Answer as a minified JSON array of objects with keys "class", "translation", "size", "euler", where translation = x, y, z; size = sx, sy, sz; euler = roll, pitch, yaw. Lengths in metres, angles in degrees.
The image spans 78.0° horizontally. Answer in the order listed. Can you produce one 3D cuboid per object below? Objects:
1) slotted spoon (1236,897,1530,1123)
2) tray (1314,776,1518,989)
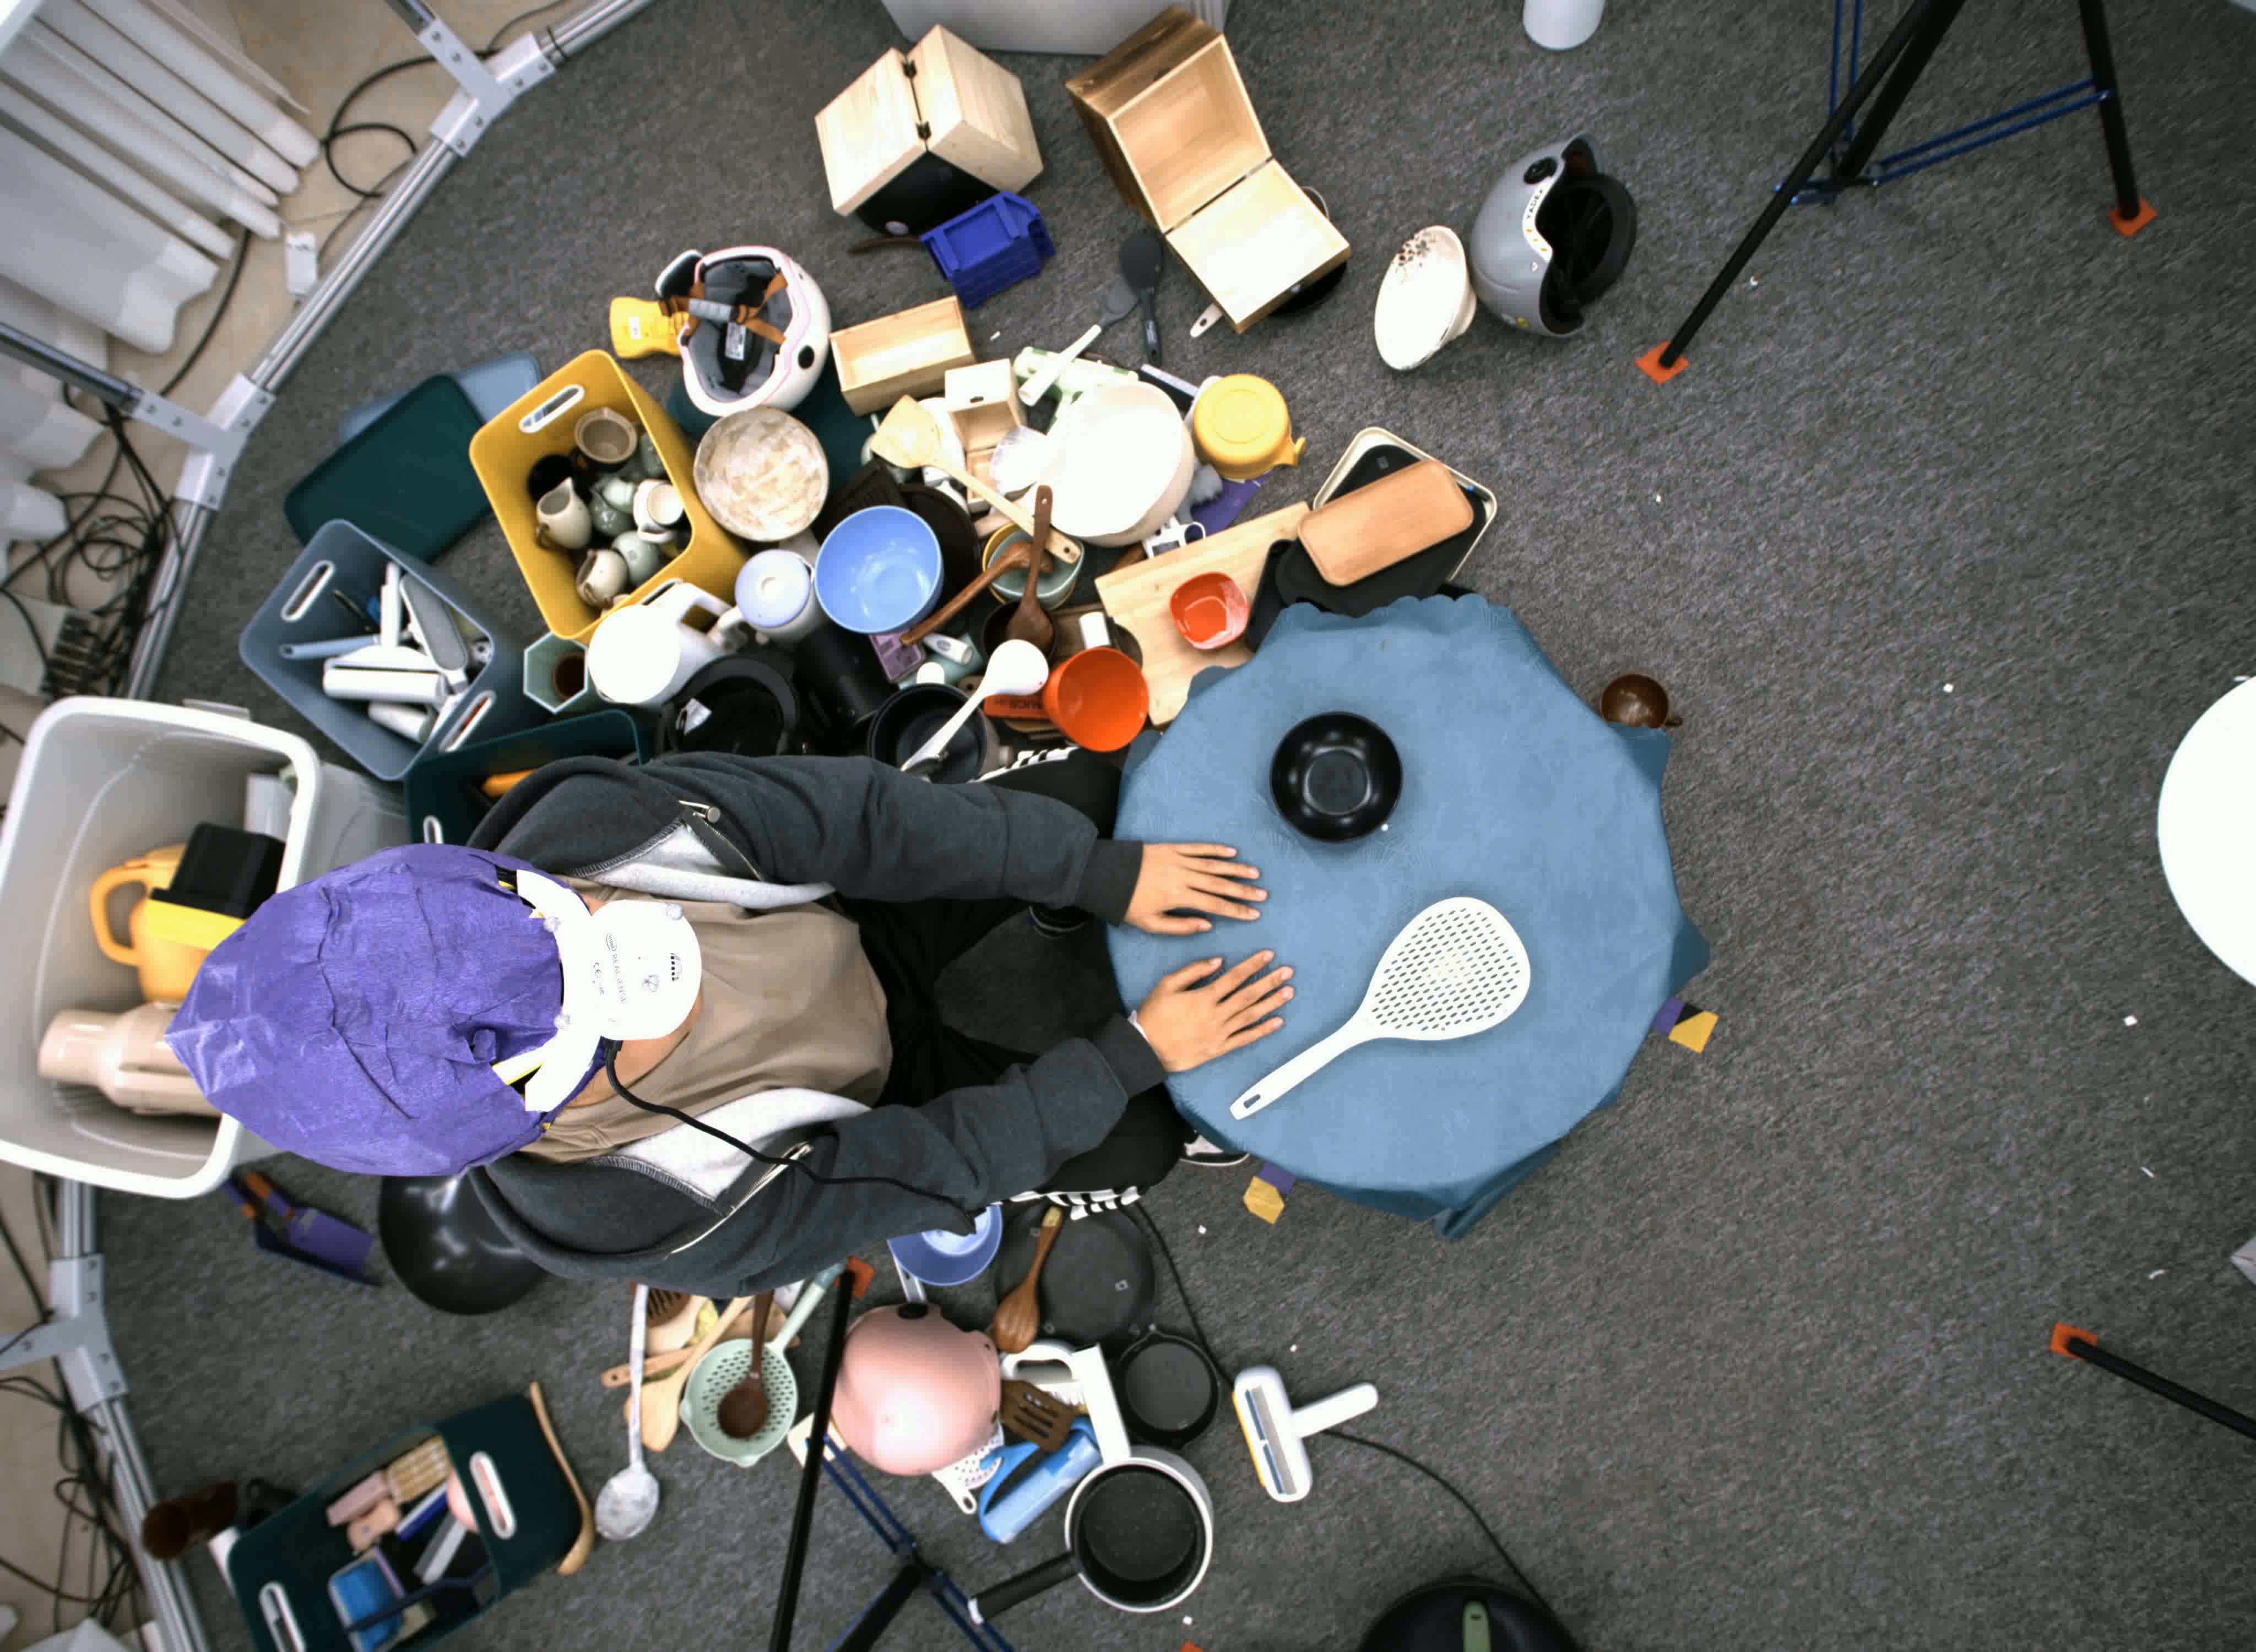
[{"class":"slotted spoon","translation":[0.251,0.204,1.435],"size":[0.350,0.050,0.136],"euler":[-35,85,7]},{"class":"tray","translation":[0.414,0.094,1.987],"size":[0.191,0.027,0.300],"euler":[27,91,11]}]
